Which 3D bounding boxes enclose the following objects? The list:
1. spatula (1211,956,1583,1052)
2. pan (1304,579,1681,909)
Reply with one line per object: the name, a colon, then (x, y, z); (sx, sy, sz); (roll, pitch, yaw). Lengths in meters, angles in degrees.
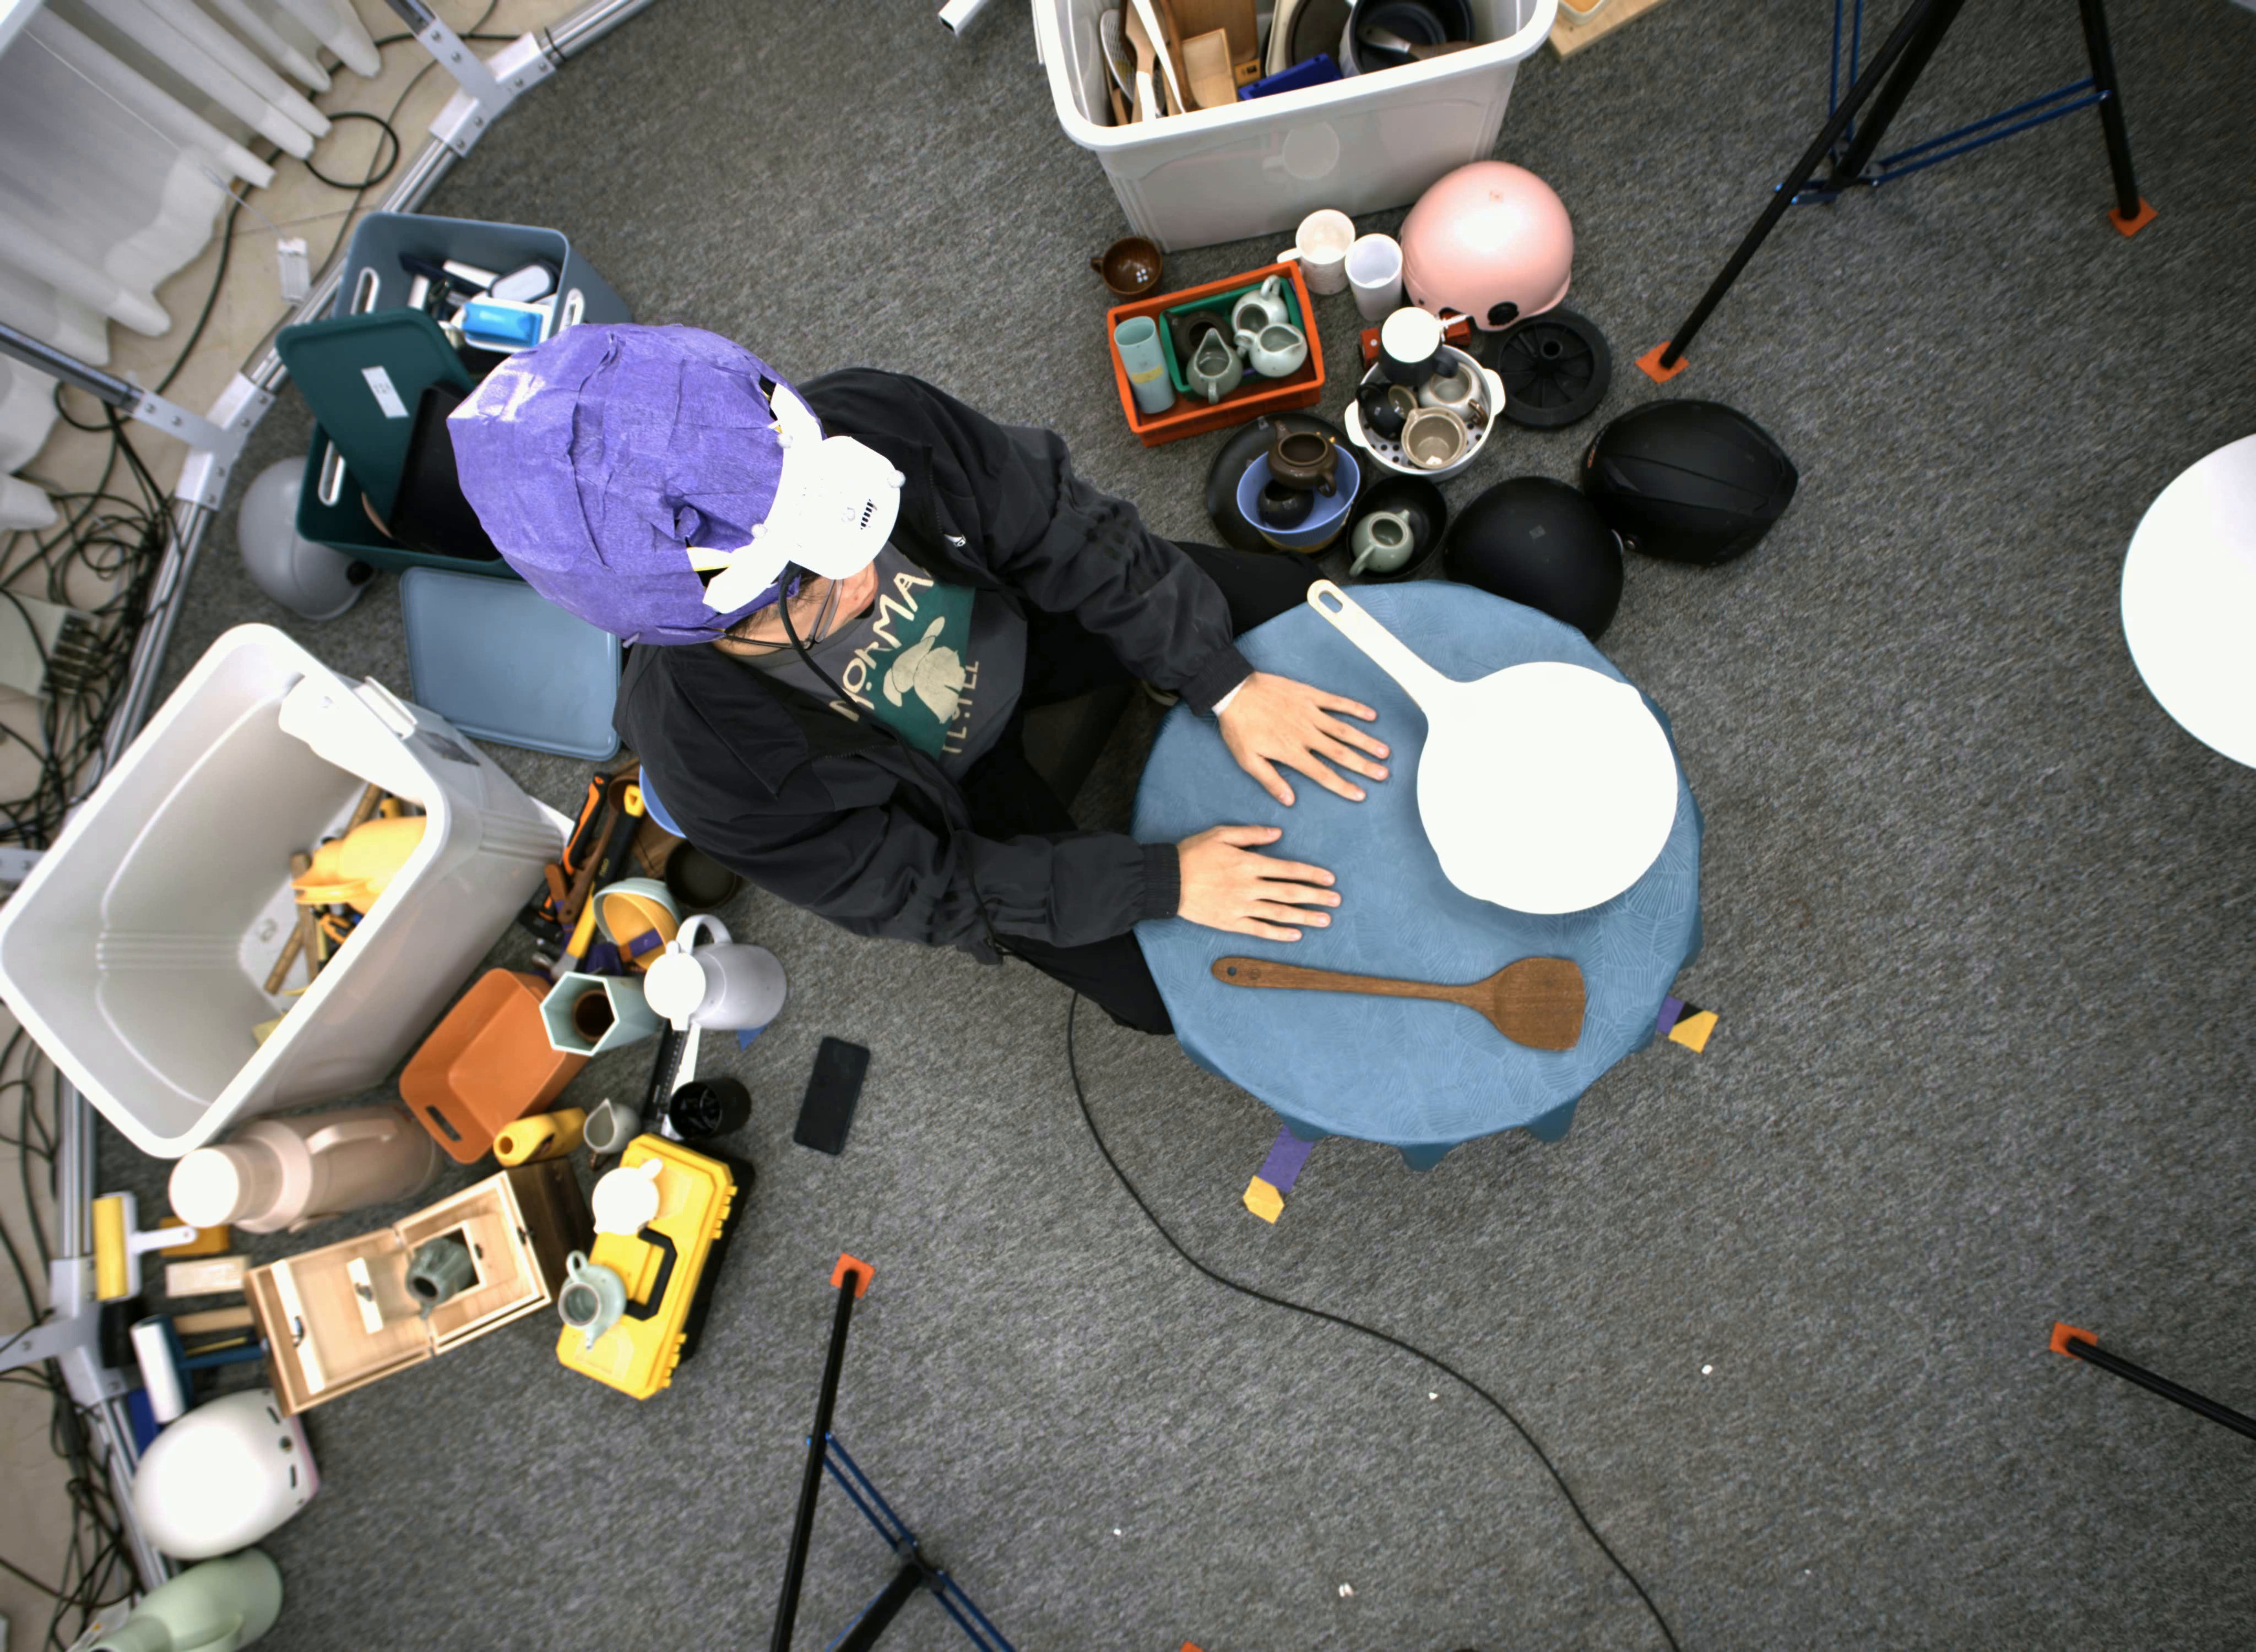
spatula: (0.277, 0.168, 1.445); (0.387, 0.016, 0.096); (5, 87, 11)
pan: (0.354, -0.103, 1.400); (0.433, 0.102, 0.265); (42, 96, 10)
